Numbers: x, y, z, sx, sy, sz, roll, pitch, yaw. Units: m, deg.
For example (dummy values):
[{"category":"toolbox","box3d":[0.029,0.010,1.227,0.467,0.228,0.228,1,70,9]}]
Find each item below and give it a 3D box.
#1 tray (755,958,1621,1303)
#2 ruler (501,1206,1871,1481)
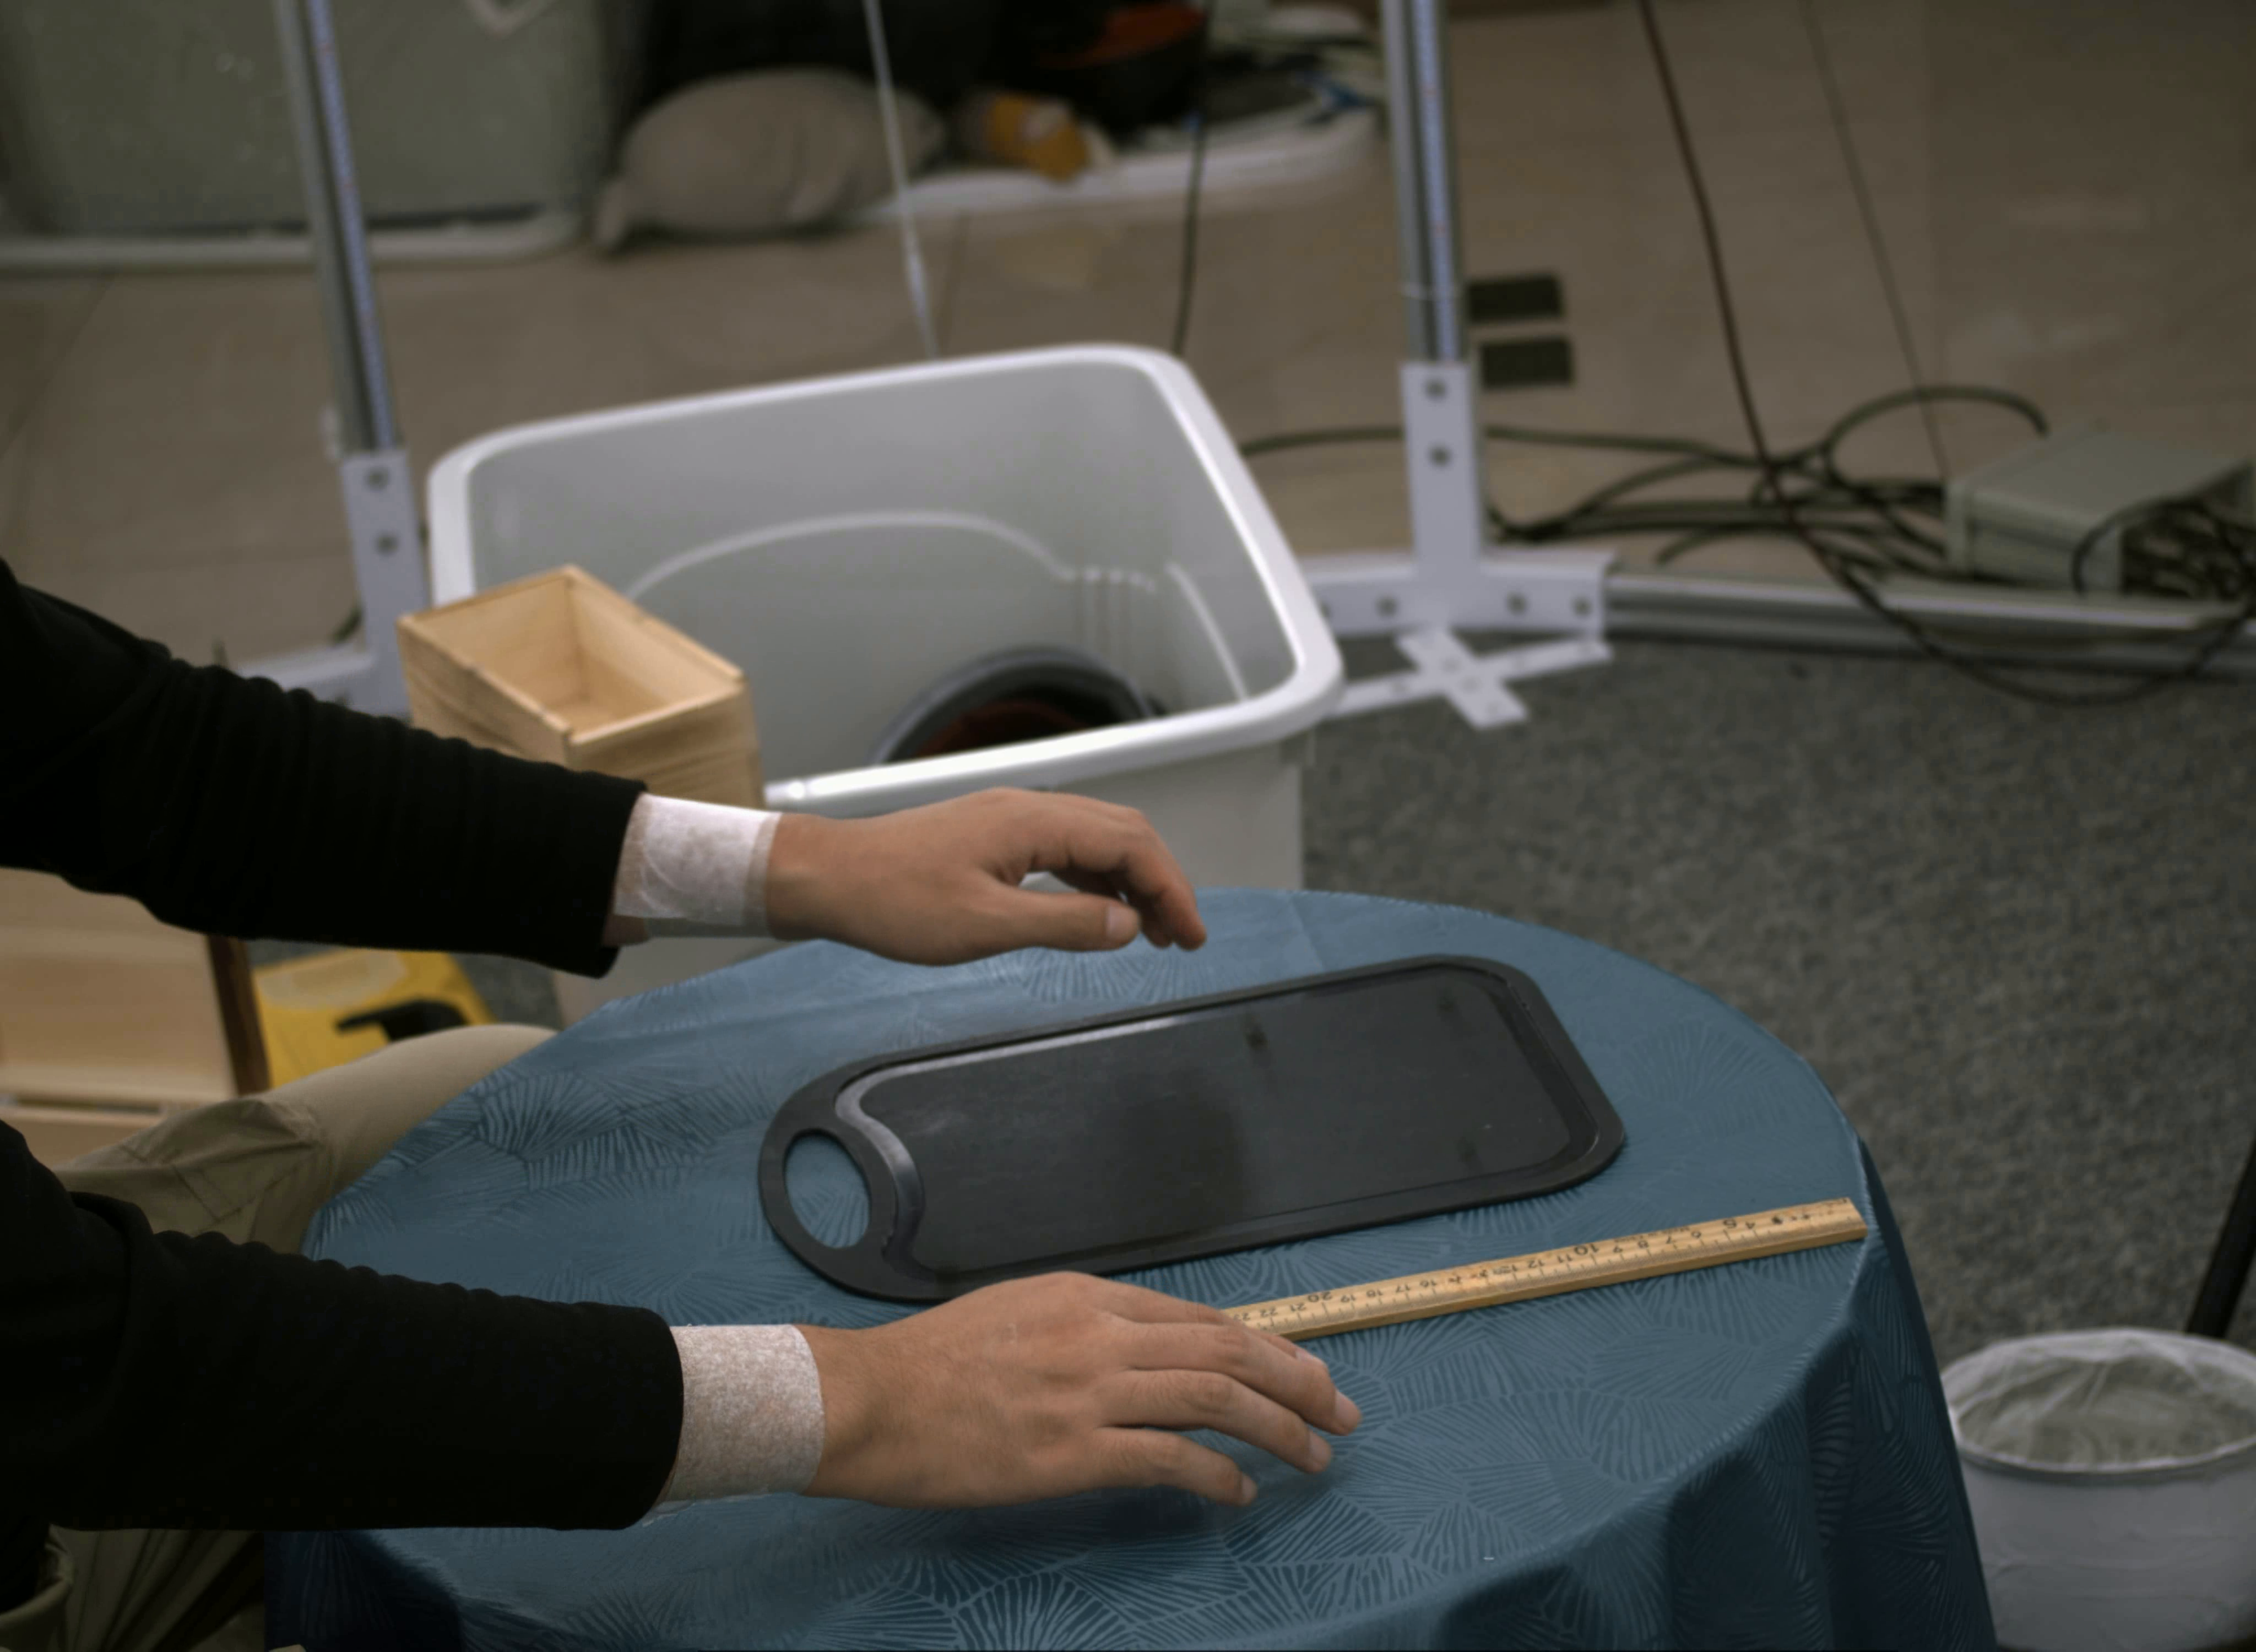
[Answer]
[{"category":"tray","box3d":[0.018,0.115,2.187,0.325,0.010,0.208,-10,25,-7]},{"category":"ruler","box3d":[0.022,0.184,2.040,0.499,0.006,0.026,-9,22,-6]}]
